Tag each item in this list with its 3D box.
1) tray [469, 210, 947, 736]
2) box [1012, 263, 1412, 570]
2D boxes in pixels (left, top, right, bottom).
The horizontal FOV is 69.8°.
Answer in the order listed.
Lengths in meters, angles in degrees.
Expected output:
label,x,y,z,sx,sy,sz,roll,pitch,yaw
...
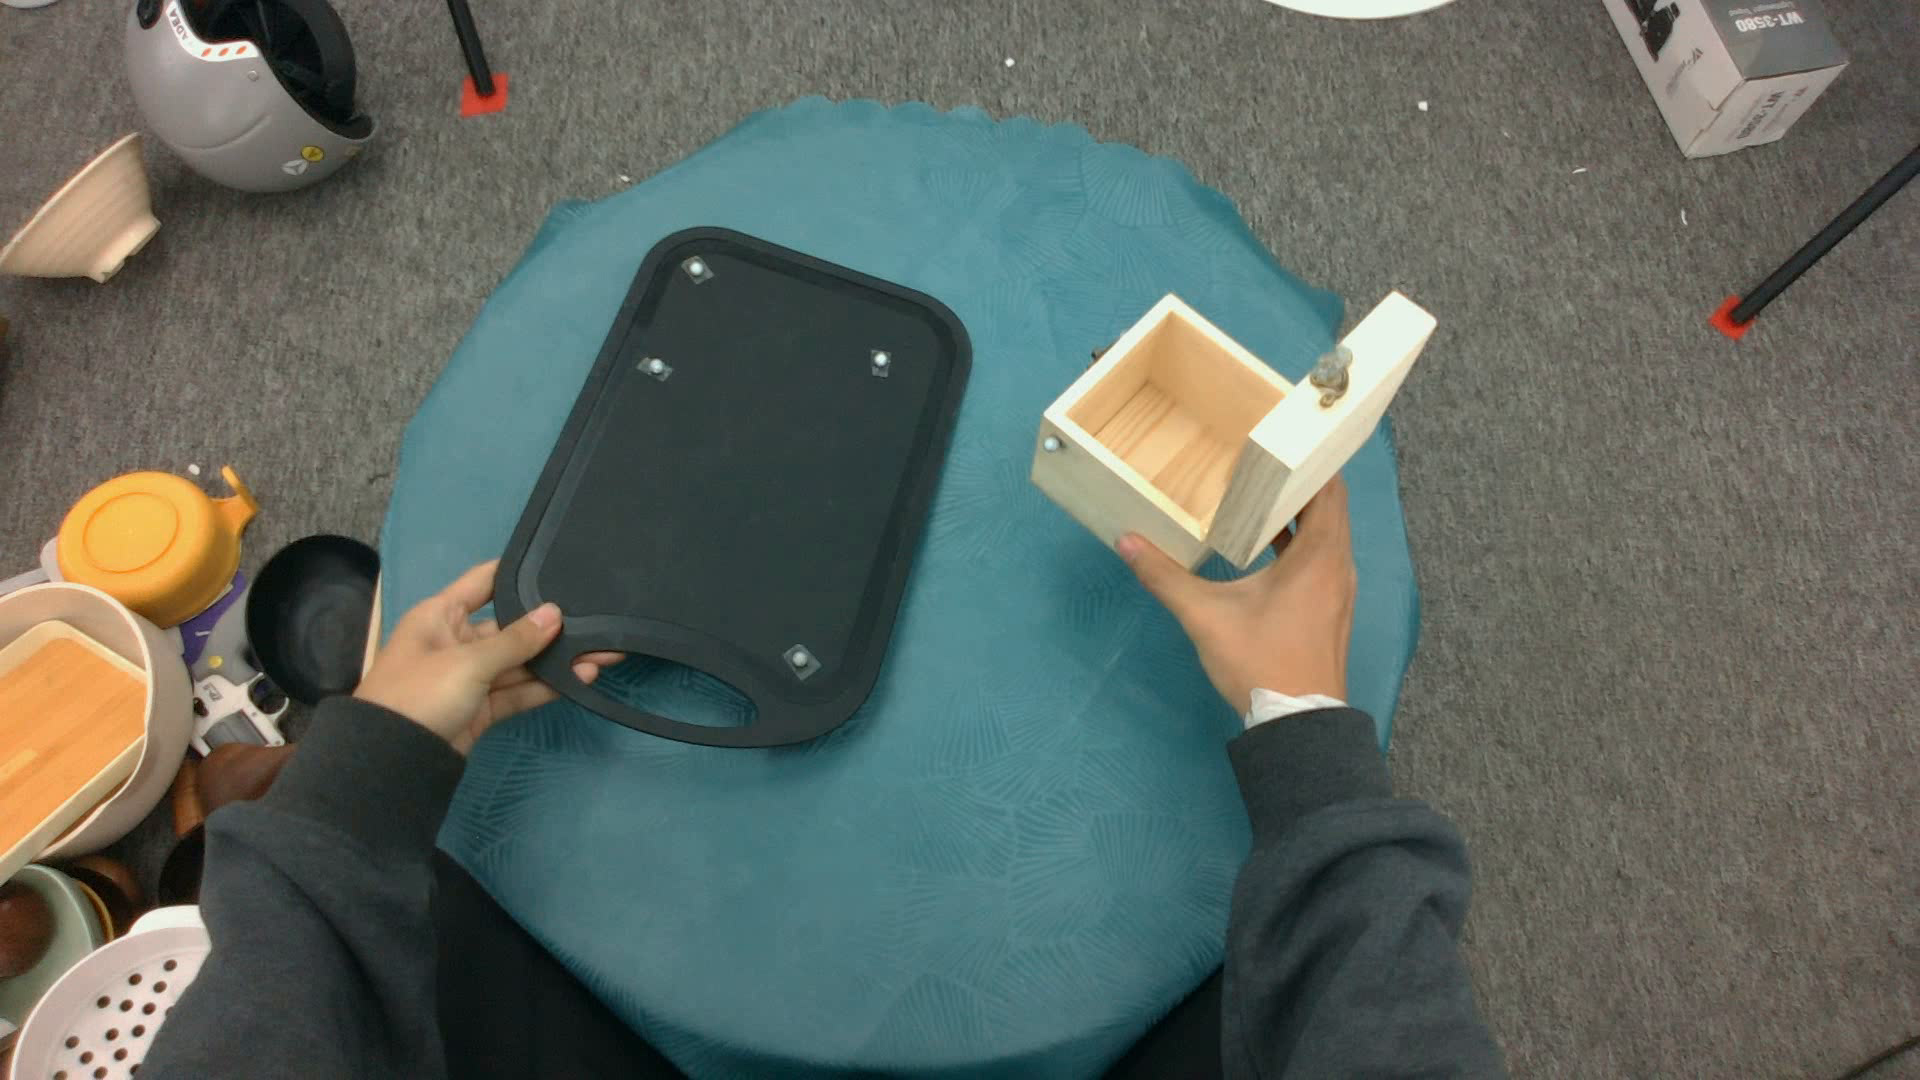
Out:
label,x,y,z,sx,sy,sz,roll,pitch,yaw
tray,-0.134,-0.046,0.782,0.211,0.010,0.327,18,61,-5
box,0.108,-0.076,0.662,0.134,0.184,0.103,39,72,12
